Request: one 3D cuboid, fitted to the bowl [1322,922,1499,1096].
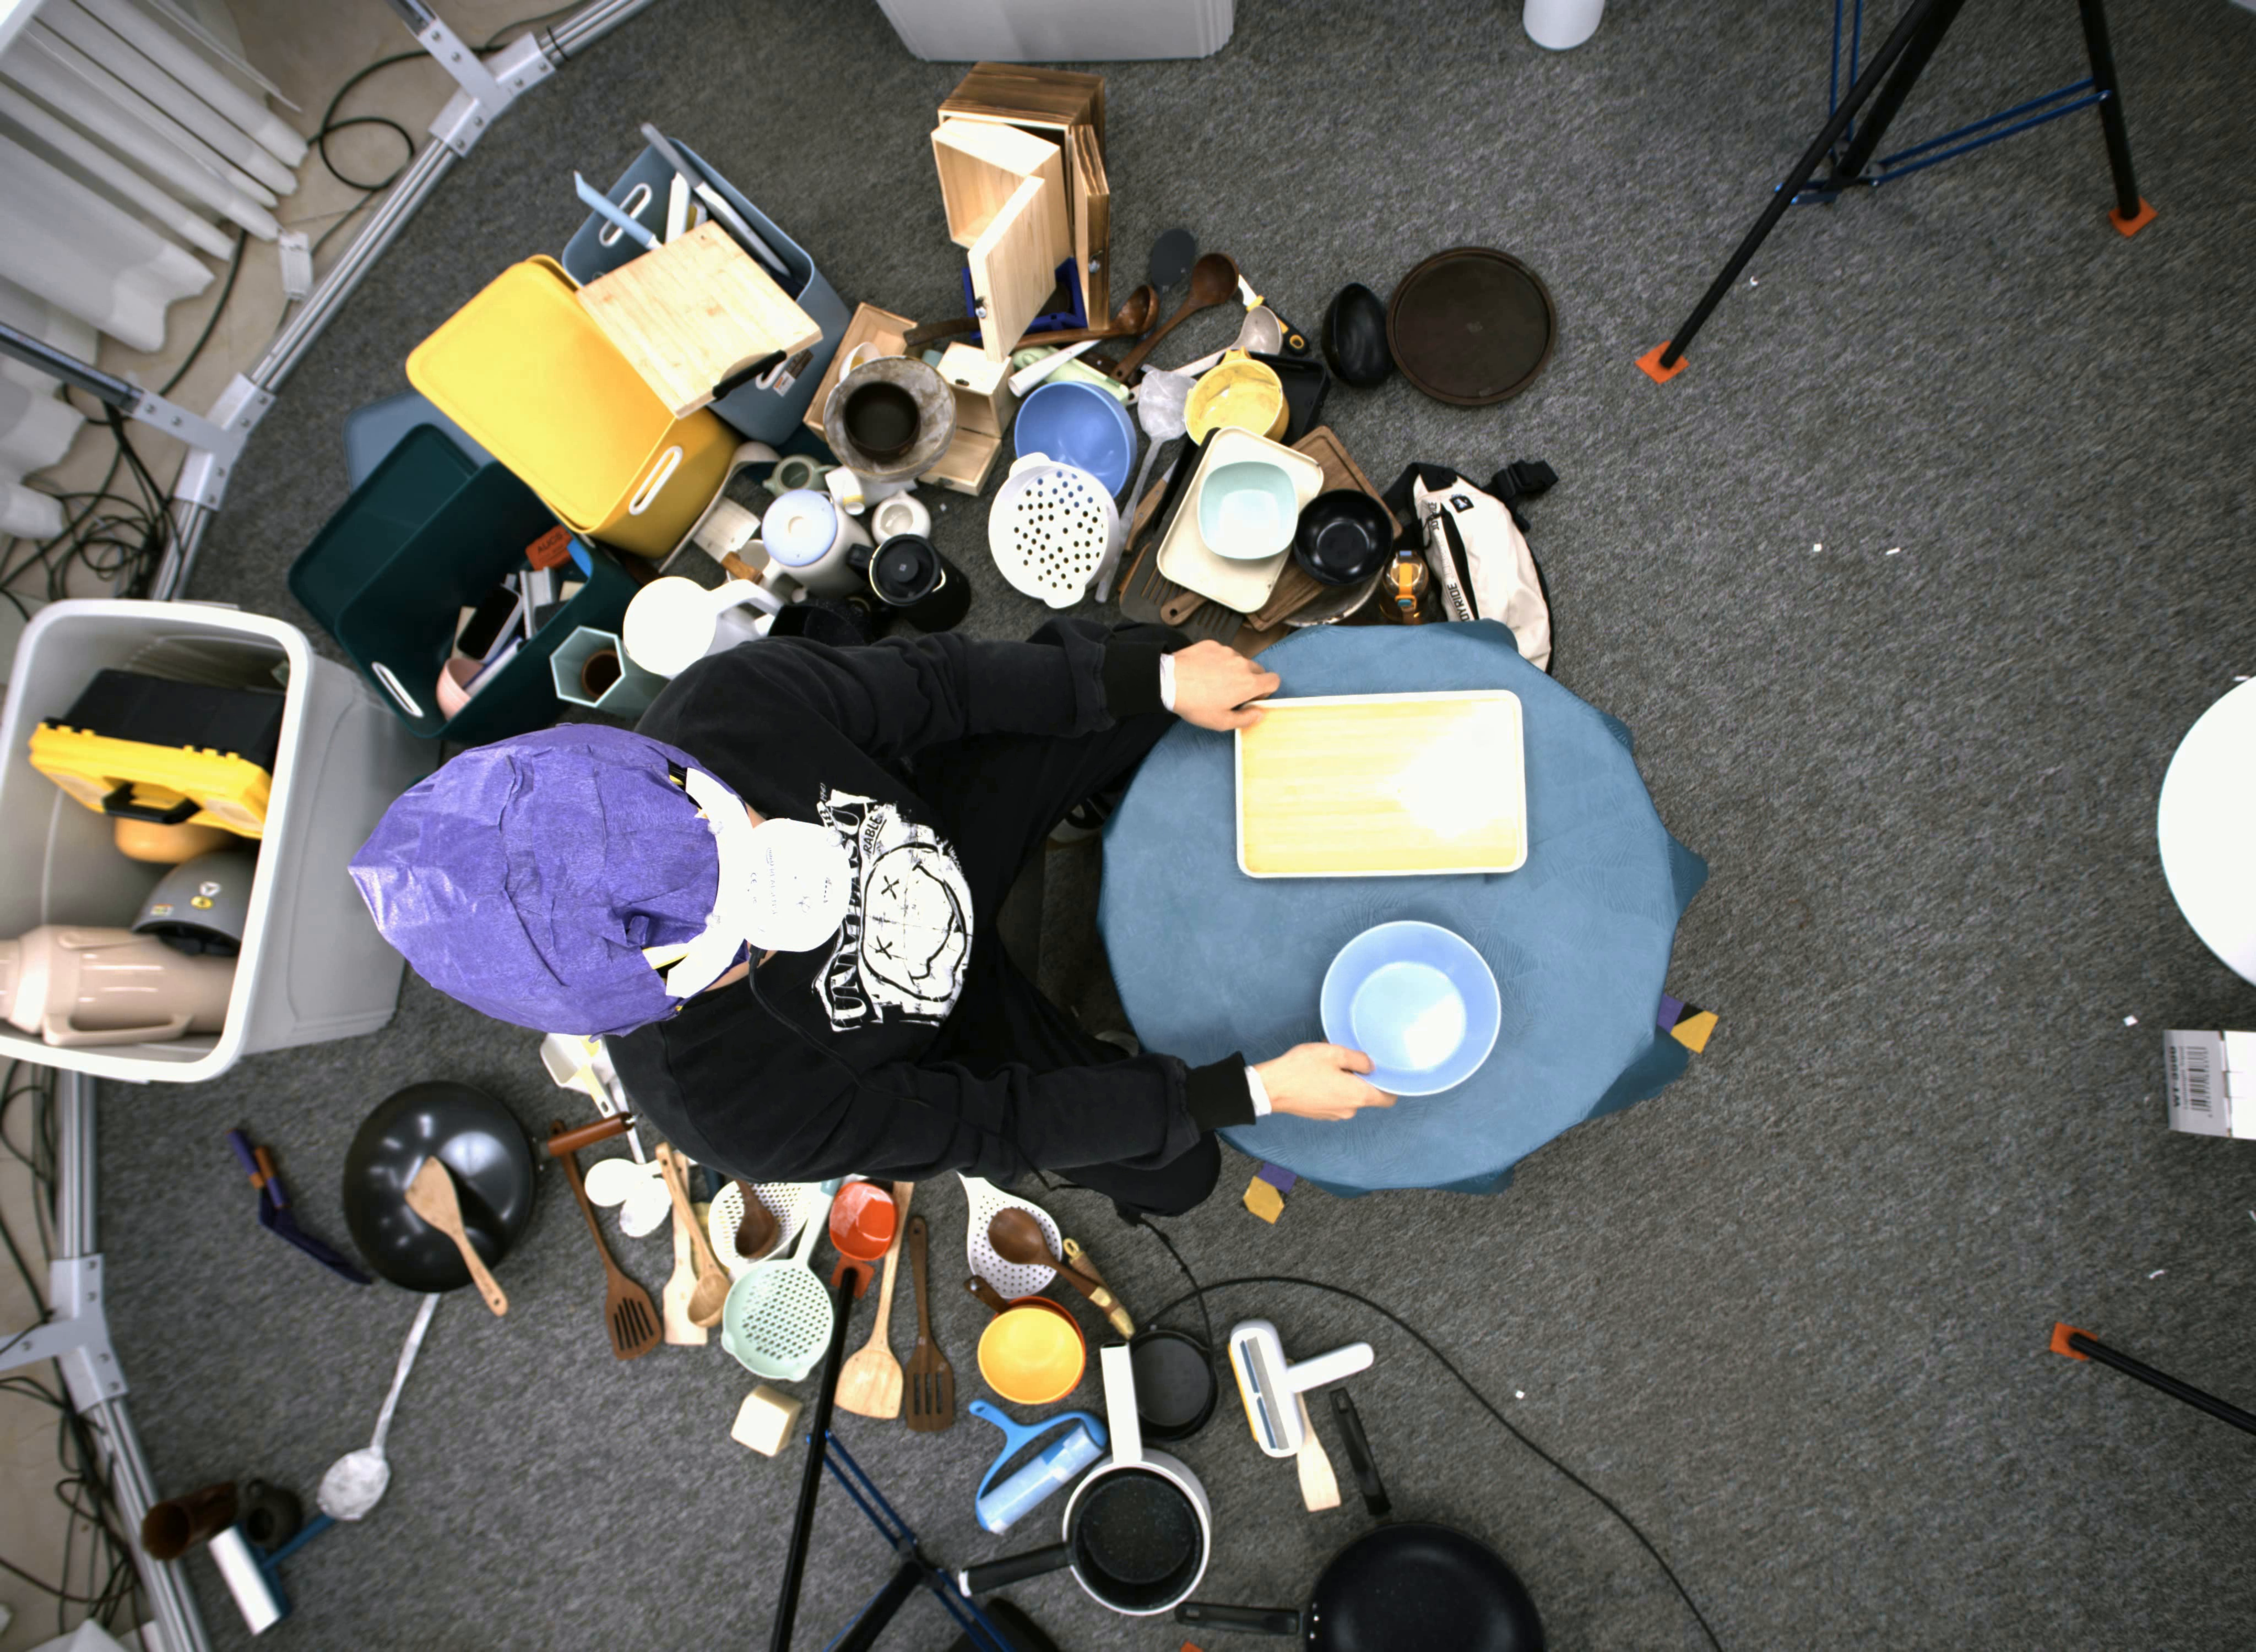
[{"bbox_3d":[0.285,0.189,1.409,0.176,0.071,0.173,-2,75,8],"label":"bowl"}]

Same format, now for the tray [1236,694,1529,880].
[{"bbox_3d":[0.267,-0.041,1.460,0.301,0.027,0.190,-2,86,10],"label":"tray"}]
